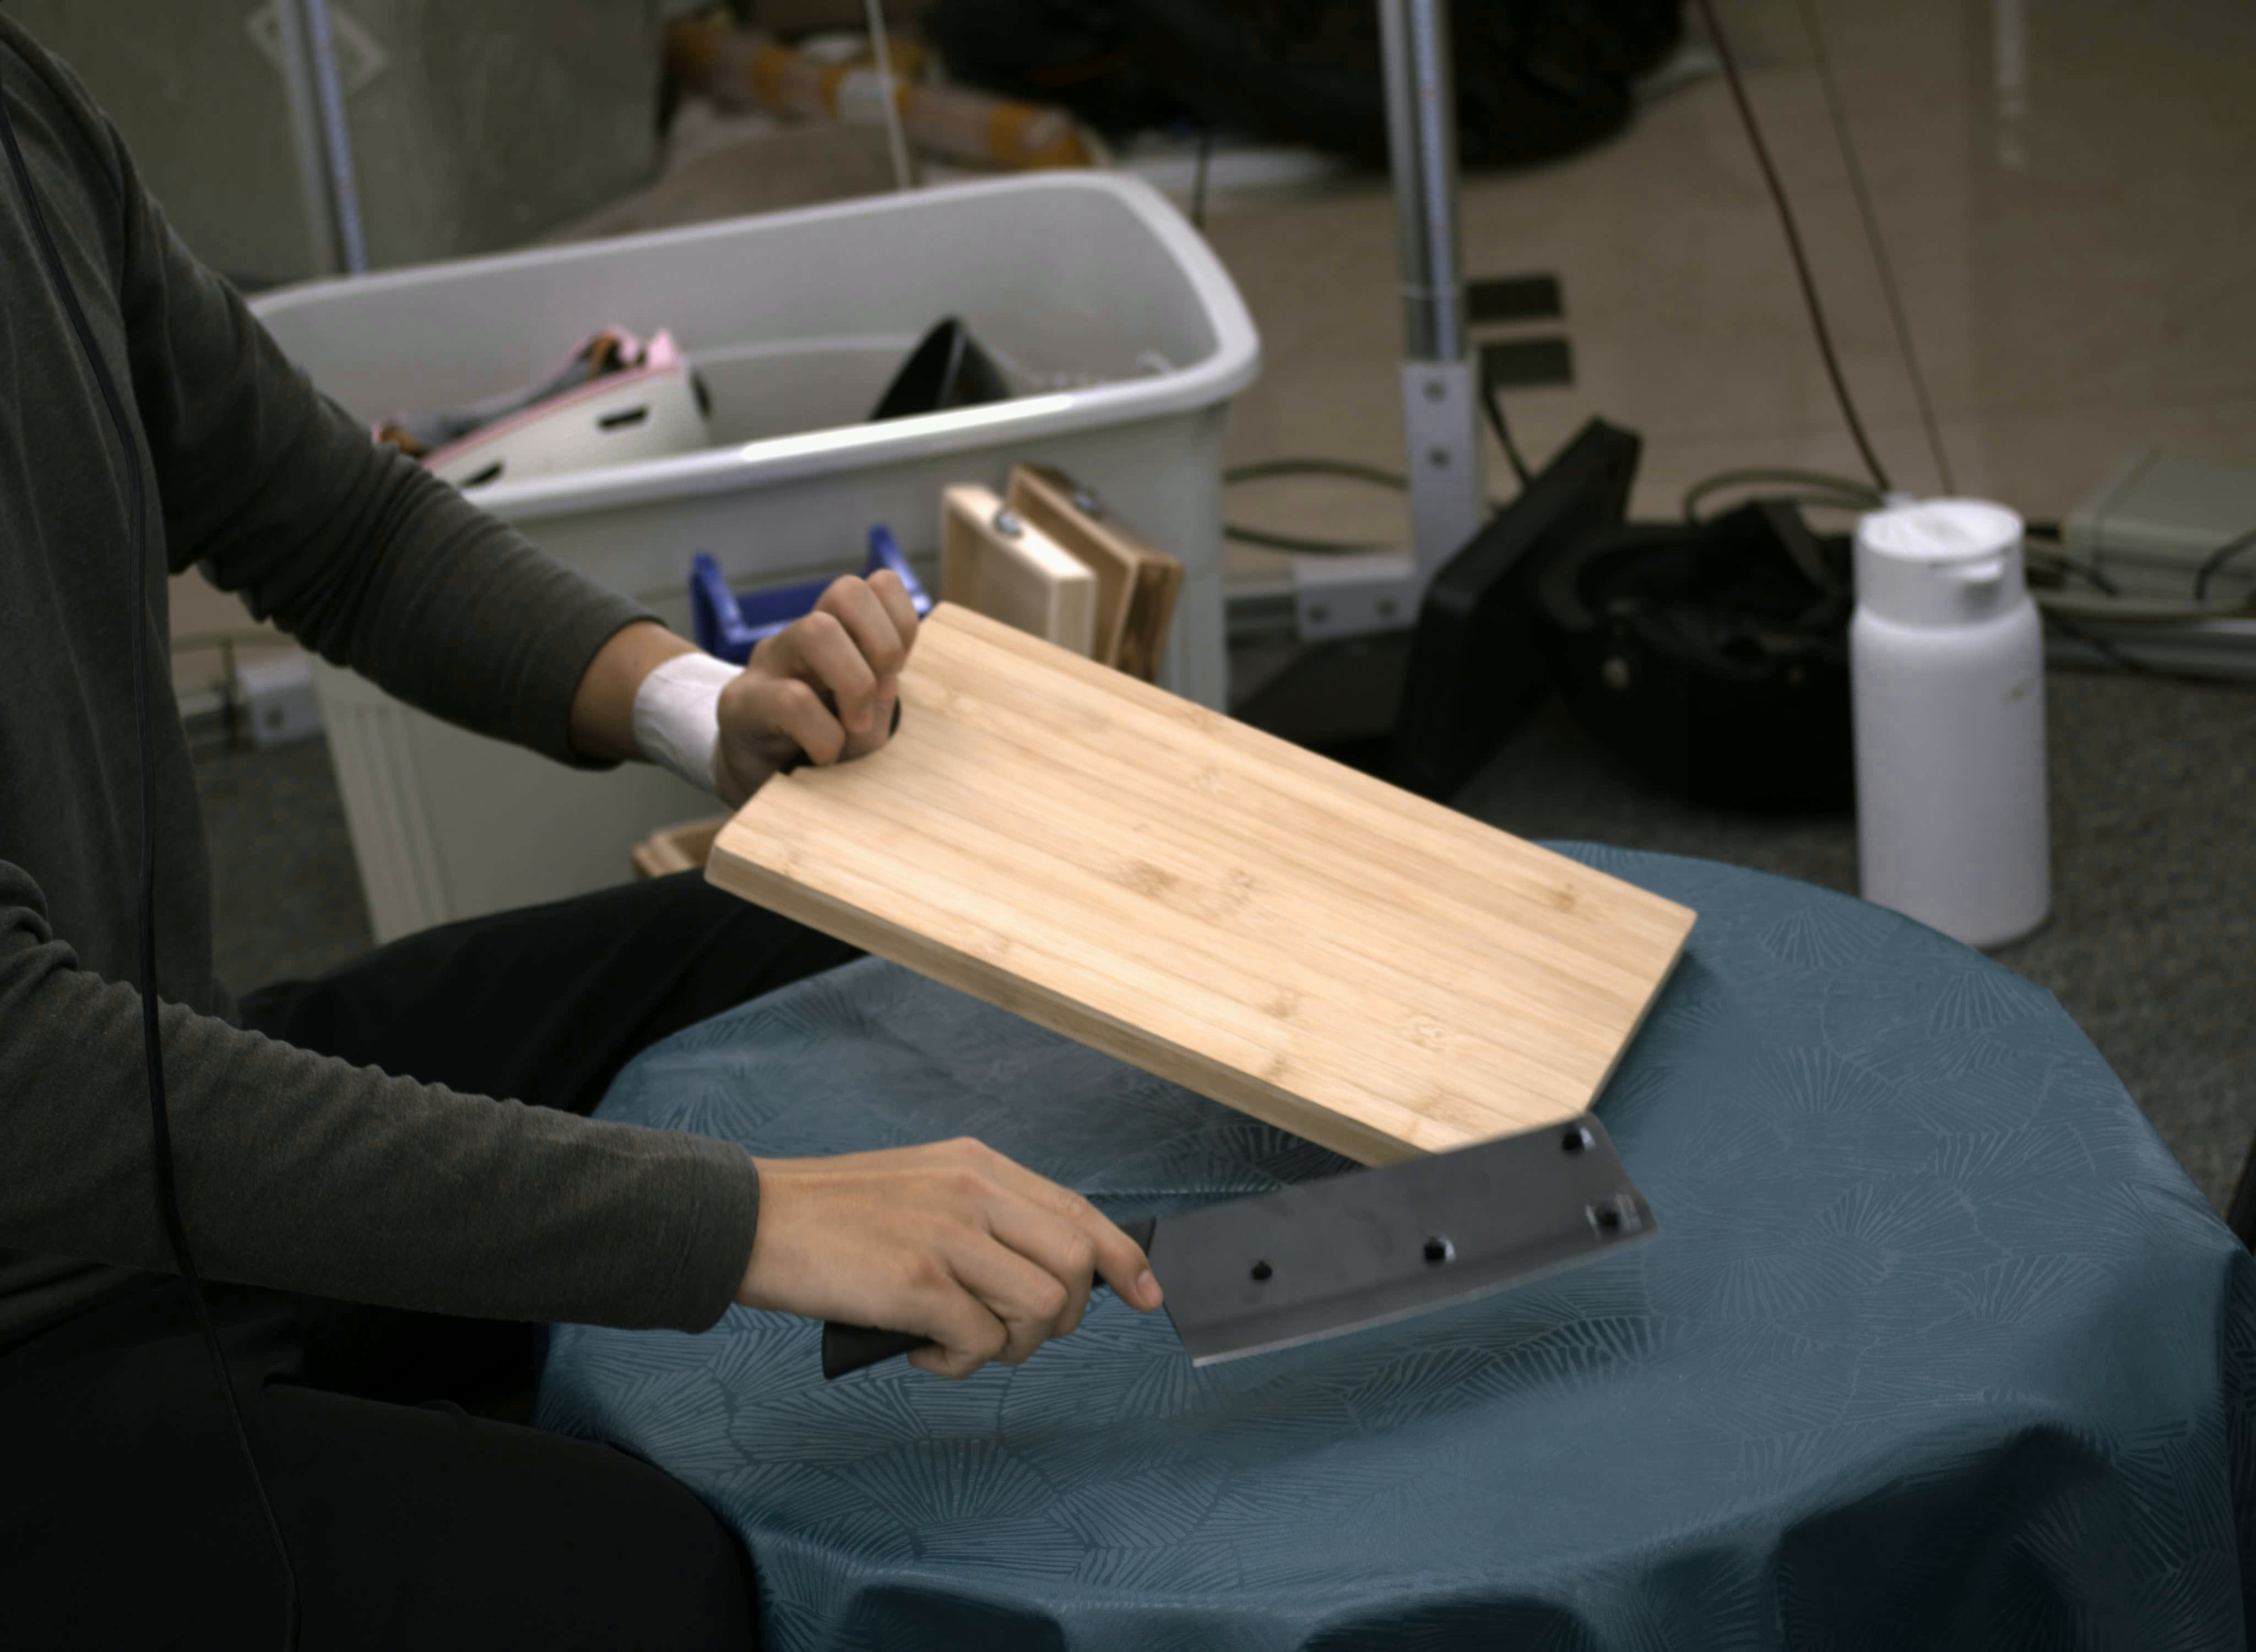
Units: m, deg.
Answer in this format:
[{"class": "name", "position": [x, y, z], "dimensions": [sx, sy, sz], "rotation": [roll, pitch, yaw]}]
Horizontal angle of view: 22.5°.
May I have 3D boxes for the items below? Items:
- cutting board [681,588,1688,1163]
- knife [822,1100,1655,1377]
[{"class": "cutting board", "position": [0.027, 0.025, 2.217], "dimensions": [0.347, 0.024, 0.247], "rotation": [23, 31, 9]}, {"class": "knife", "position": [0.037, 0.150, 1.983], "dimensions": [0.301, 0.021, 0.079], "rotation": [-11, 46, -14]}]
